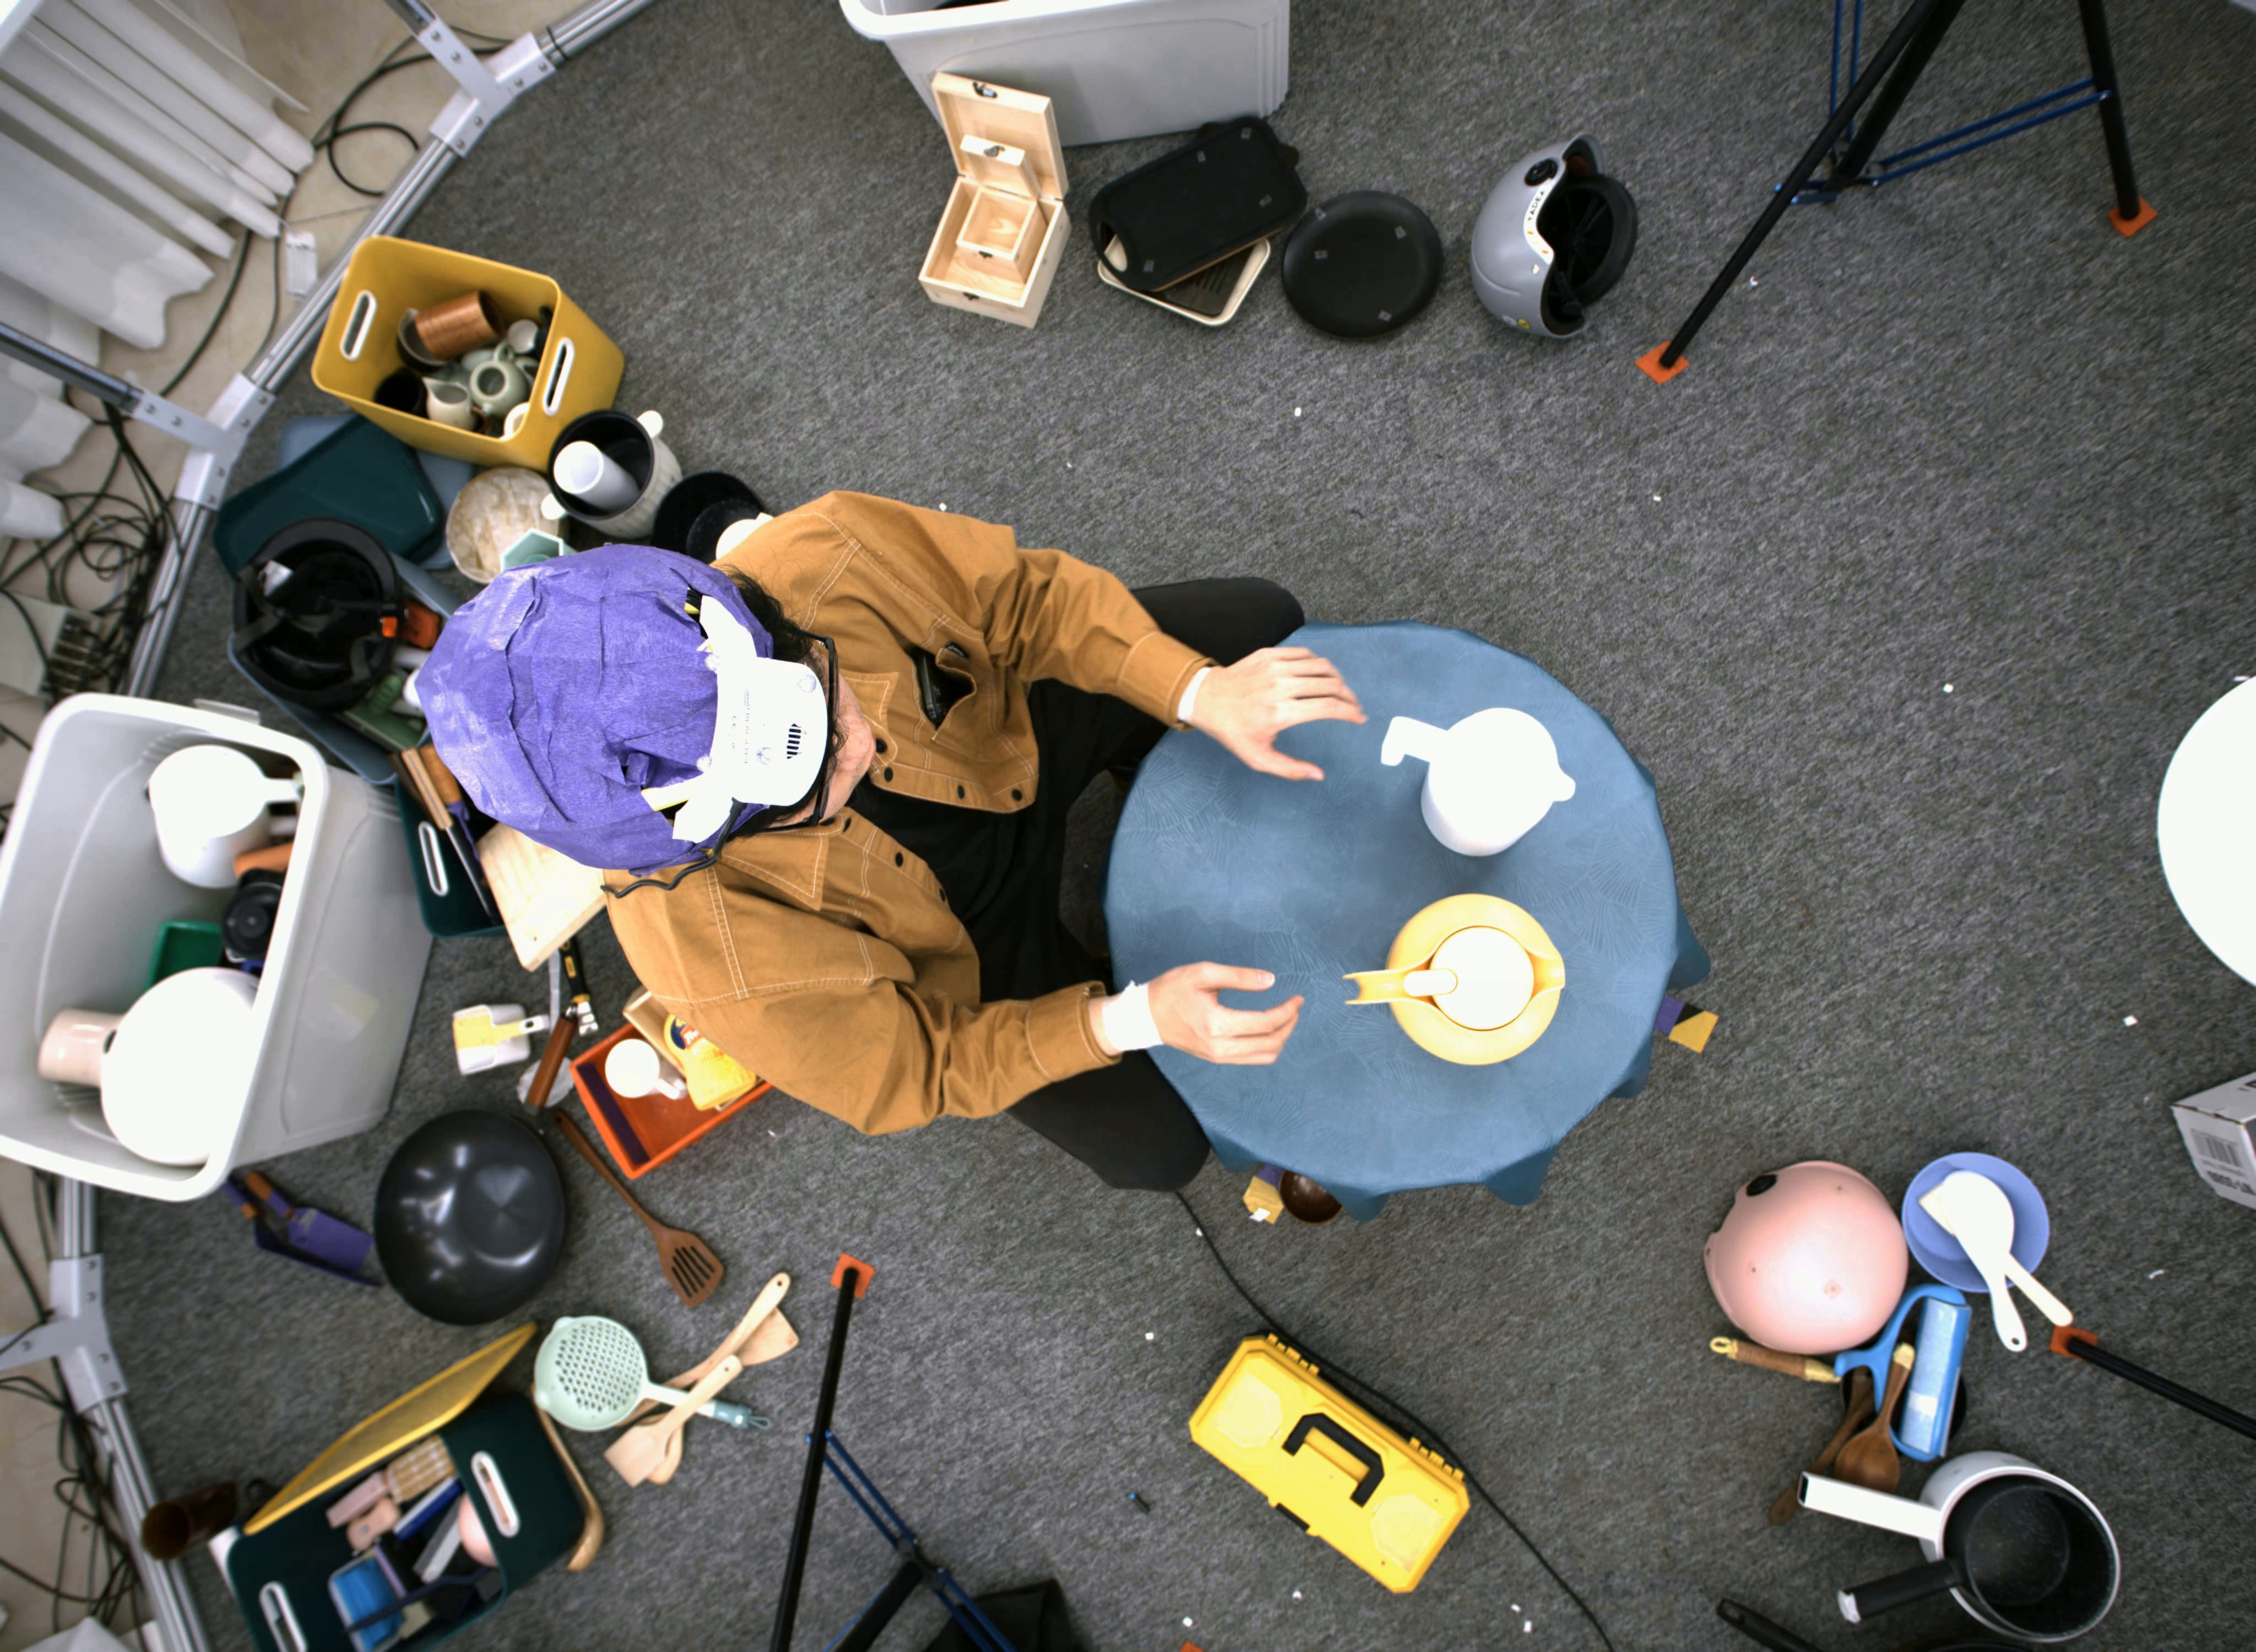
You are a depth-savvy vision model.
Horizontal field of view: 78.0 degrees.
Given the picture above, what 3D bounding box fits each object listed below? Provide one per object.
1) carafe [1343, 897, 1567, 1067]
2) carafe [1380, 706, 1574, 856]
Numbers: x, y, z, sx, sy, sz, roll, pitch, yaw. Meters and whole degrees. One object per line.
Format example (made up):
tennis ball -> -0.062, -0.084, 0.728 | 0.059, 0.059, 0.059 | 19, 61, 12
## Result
carafe -> 0.307, 0.146, 1.316 | 0.203, 0.261, 0.162 | -3, 81, 9
carafe -> 0.328, -0.046, 1.320 | 0.173, 0.268, 0.124 | 20, 91, 11
